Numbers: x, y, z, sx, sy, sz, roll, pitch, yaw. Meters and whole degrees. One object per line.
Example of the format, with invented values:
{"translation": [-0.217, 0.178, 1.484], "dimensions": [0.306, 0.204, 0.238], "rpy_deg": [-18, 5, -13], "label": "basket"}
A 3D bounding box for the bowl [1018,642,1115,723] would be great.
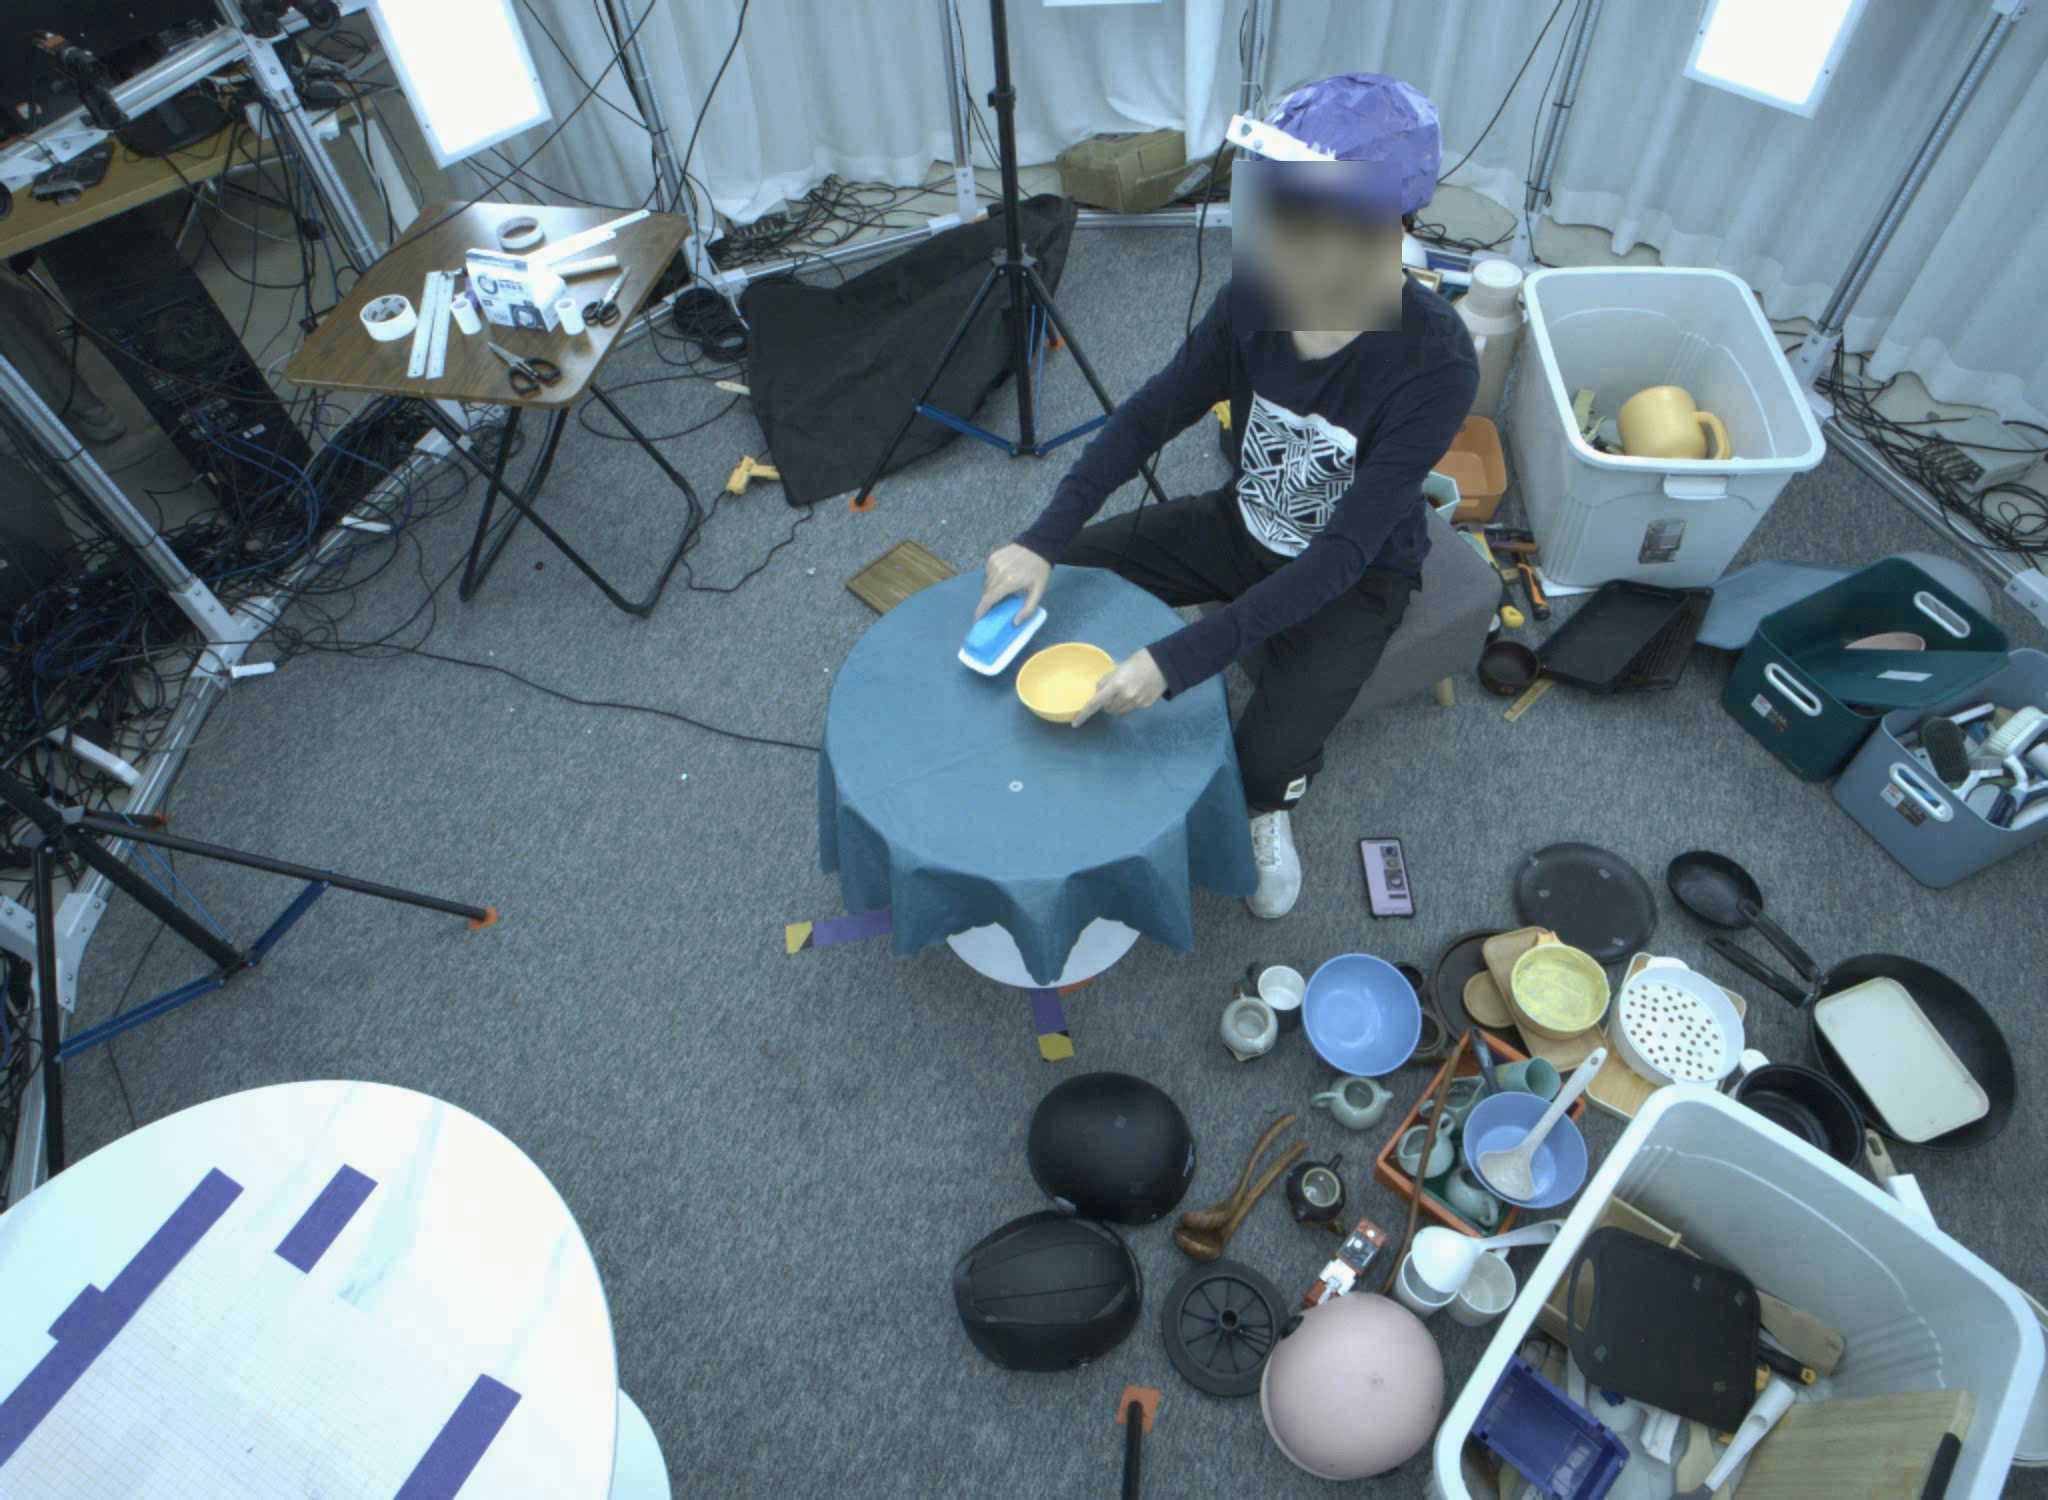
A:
{"translation": [0.067, -0.087, 1.797], "dimensions": [0.144, 0.061, 0.144], "rpy_deg": [-7, 49, 10], "label": "bowl"}

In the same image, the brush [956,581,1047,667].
{"translation": [-0.037, -0.196, 1.838], "dimensions": [0.082, 0.057, 0.144], "rpy_deg": [33, 74, 26], "label": "brush"}
